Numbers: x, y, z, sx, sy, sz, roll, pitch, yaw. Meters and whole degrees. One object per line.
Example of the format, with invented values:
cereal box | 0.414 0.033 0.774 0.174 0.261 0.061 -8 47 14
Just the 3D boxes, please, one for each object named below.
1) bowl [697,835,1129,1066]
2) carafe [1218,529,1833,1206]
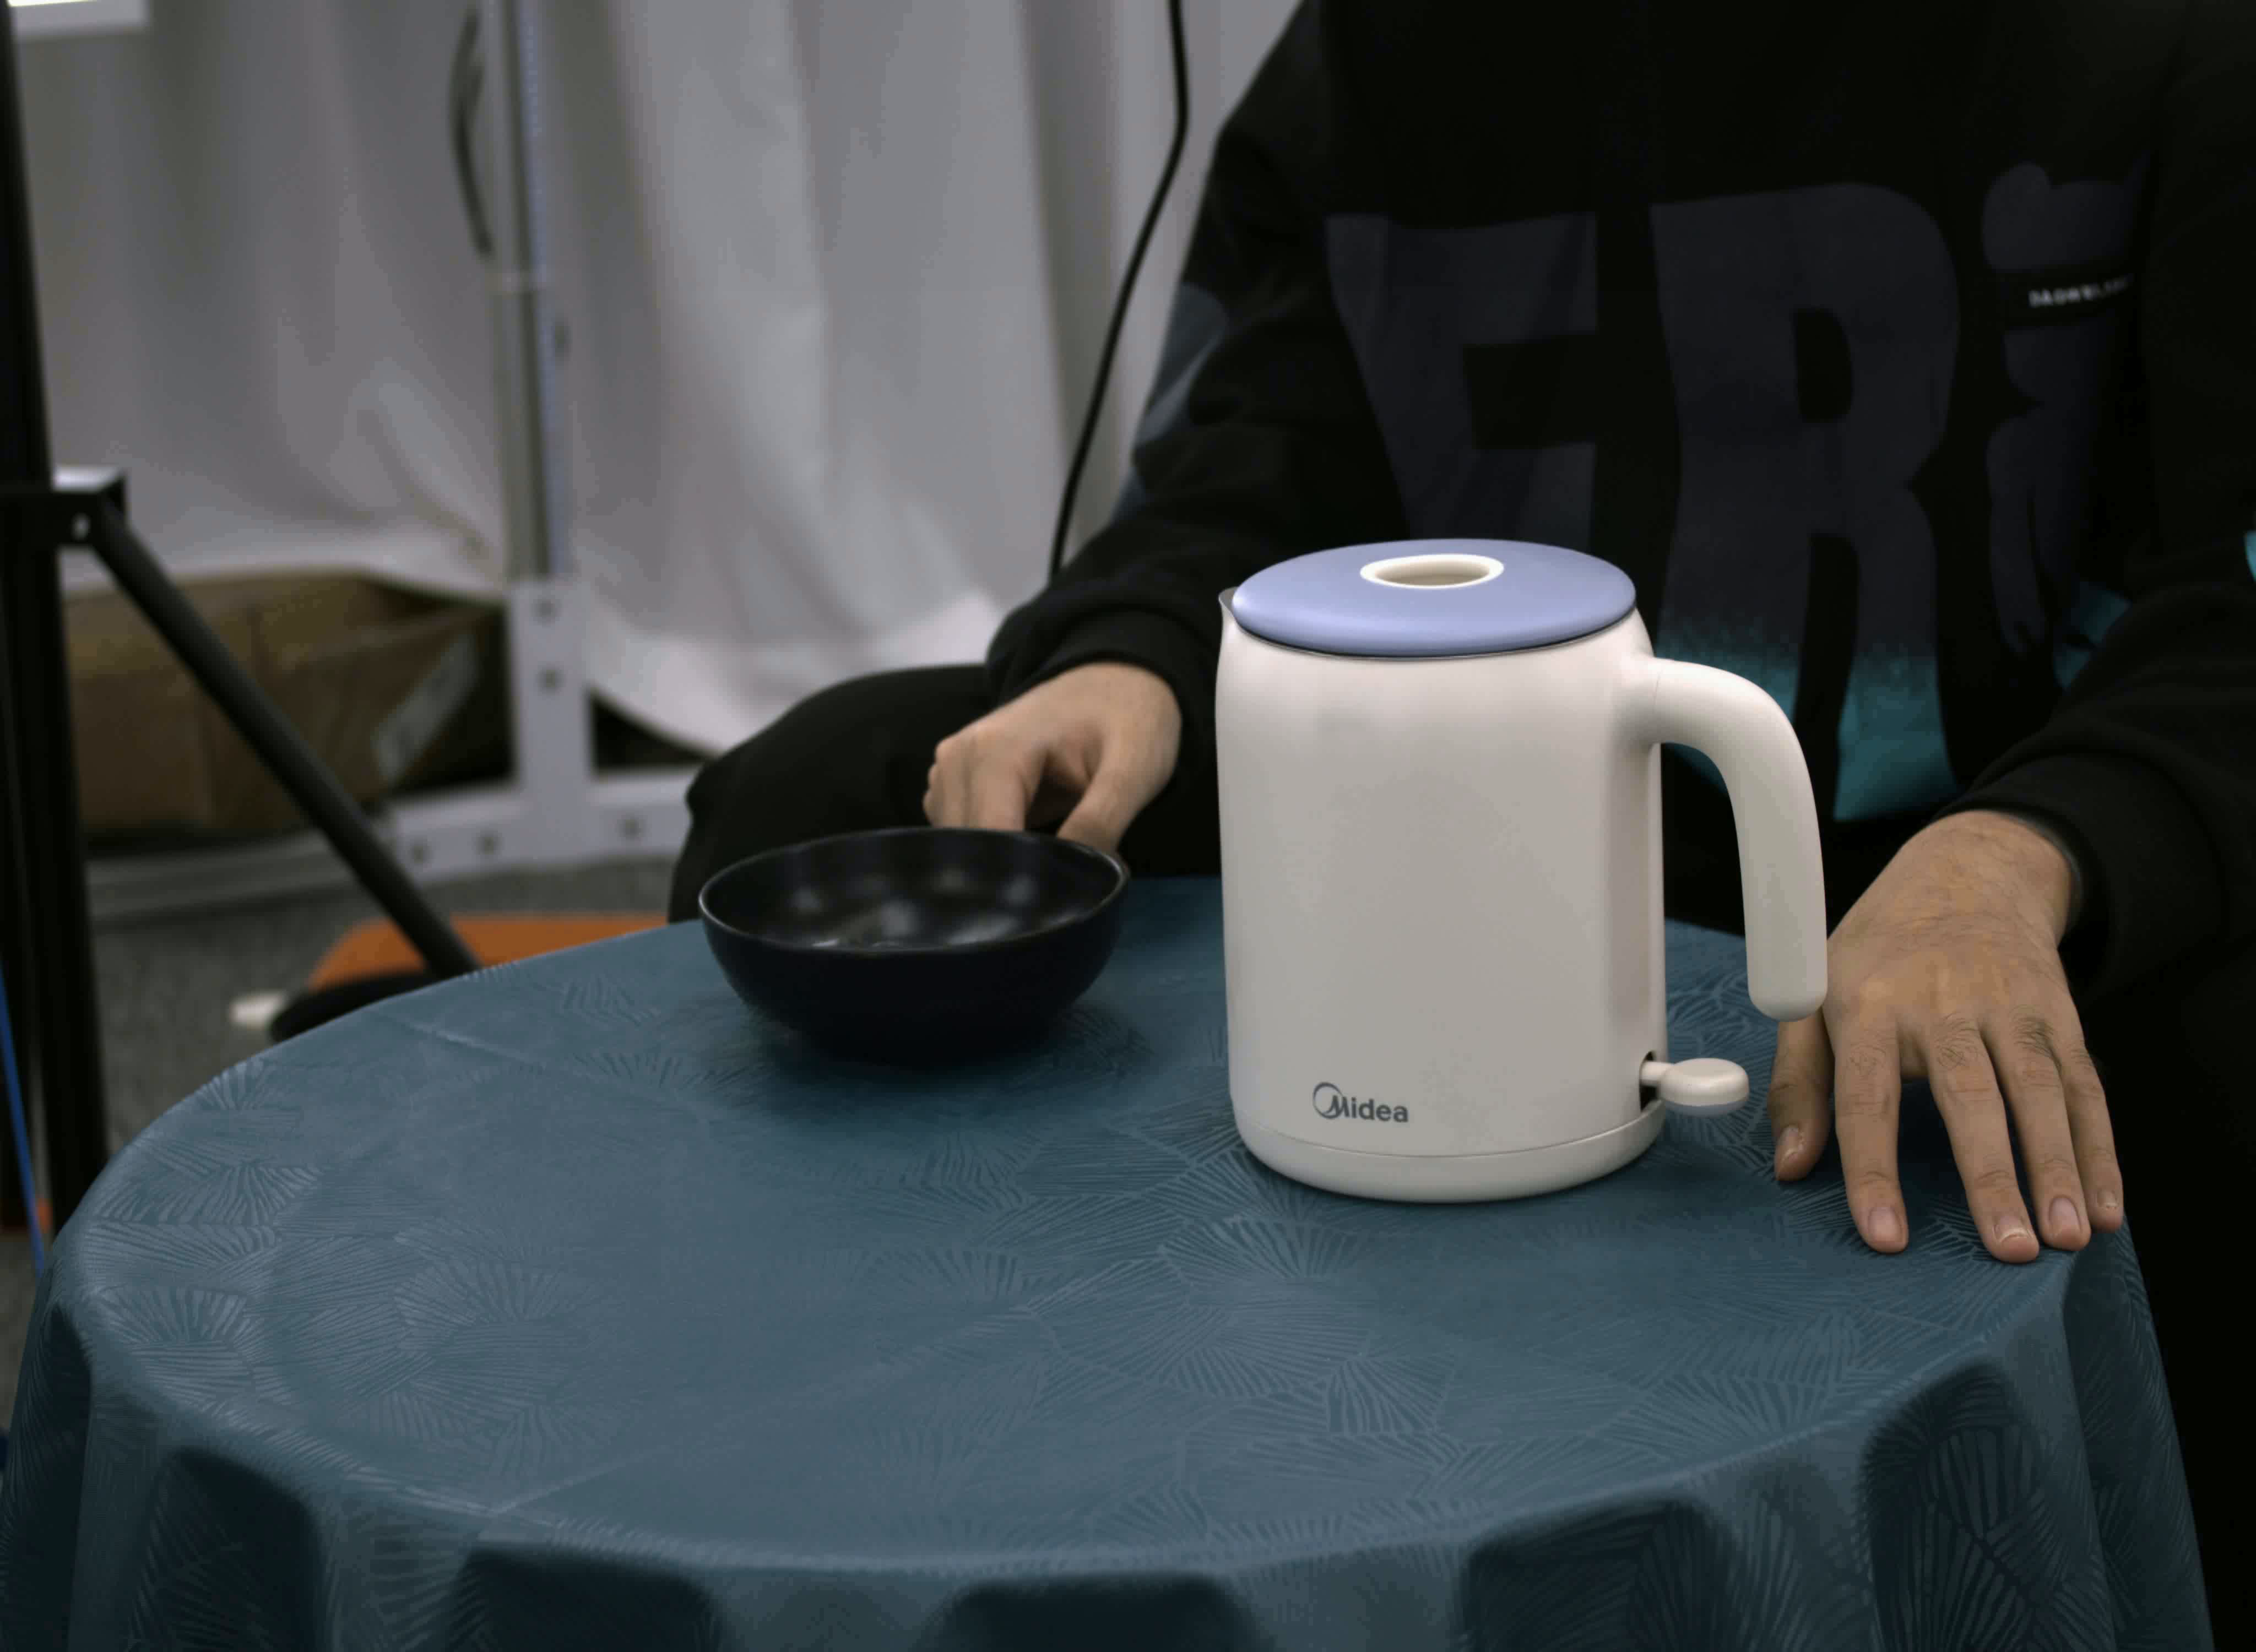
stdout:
bowl | -0.068 0.044 1.709 0.139 0.050 0.141 -1 15 -1
carafe | 0.115 0.015 1.557 0.194 0.182 0.130 8 19 26
